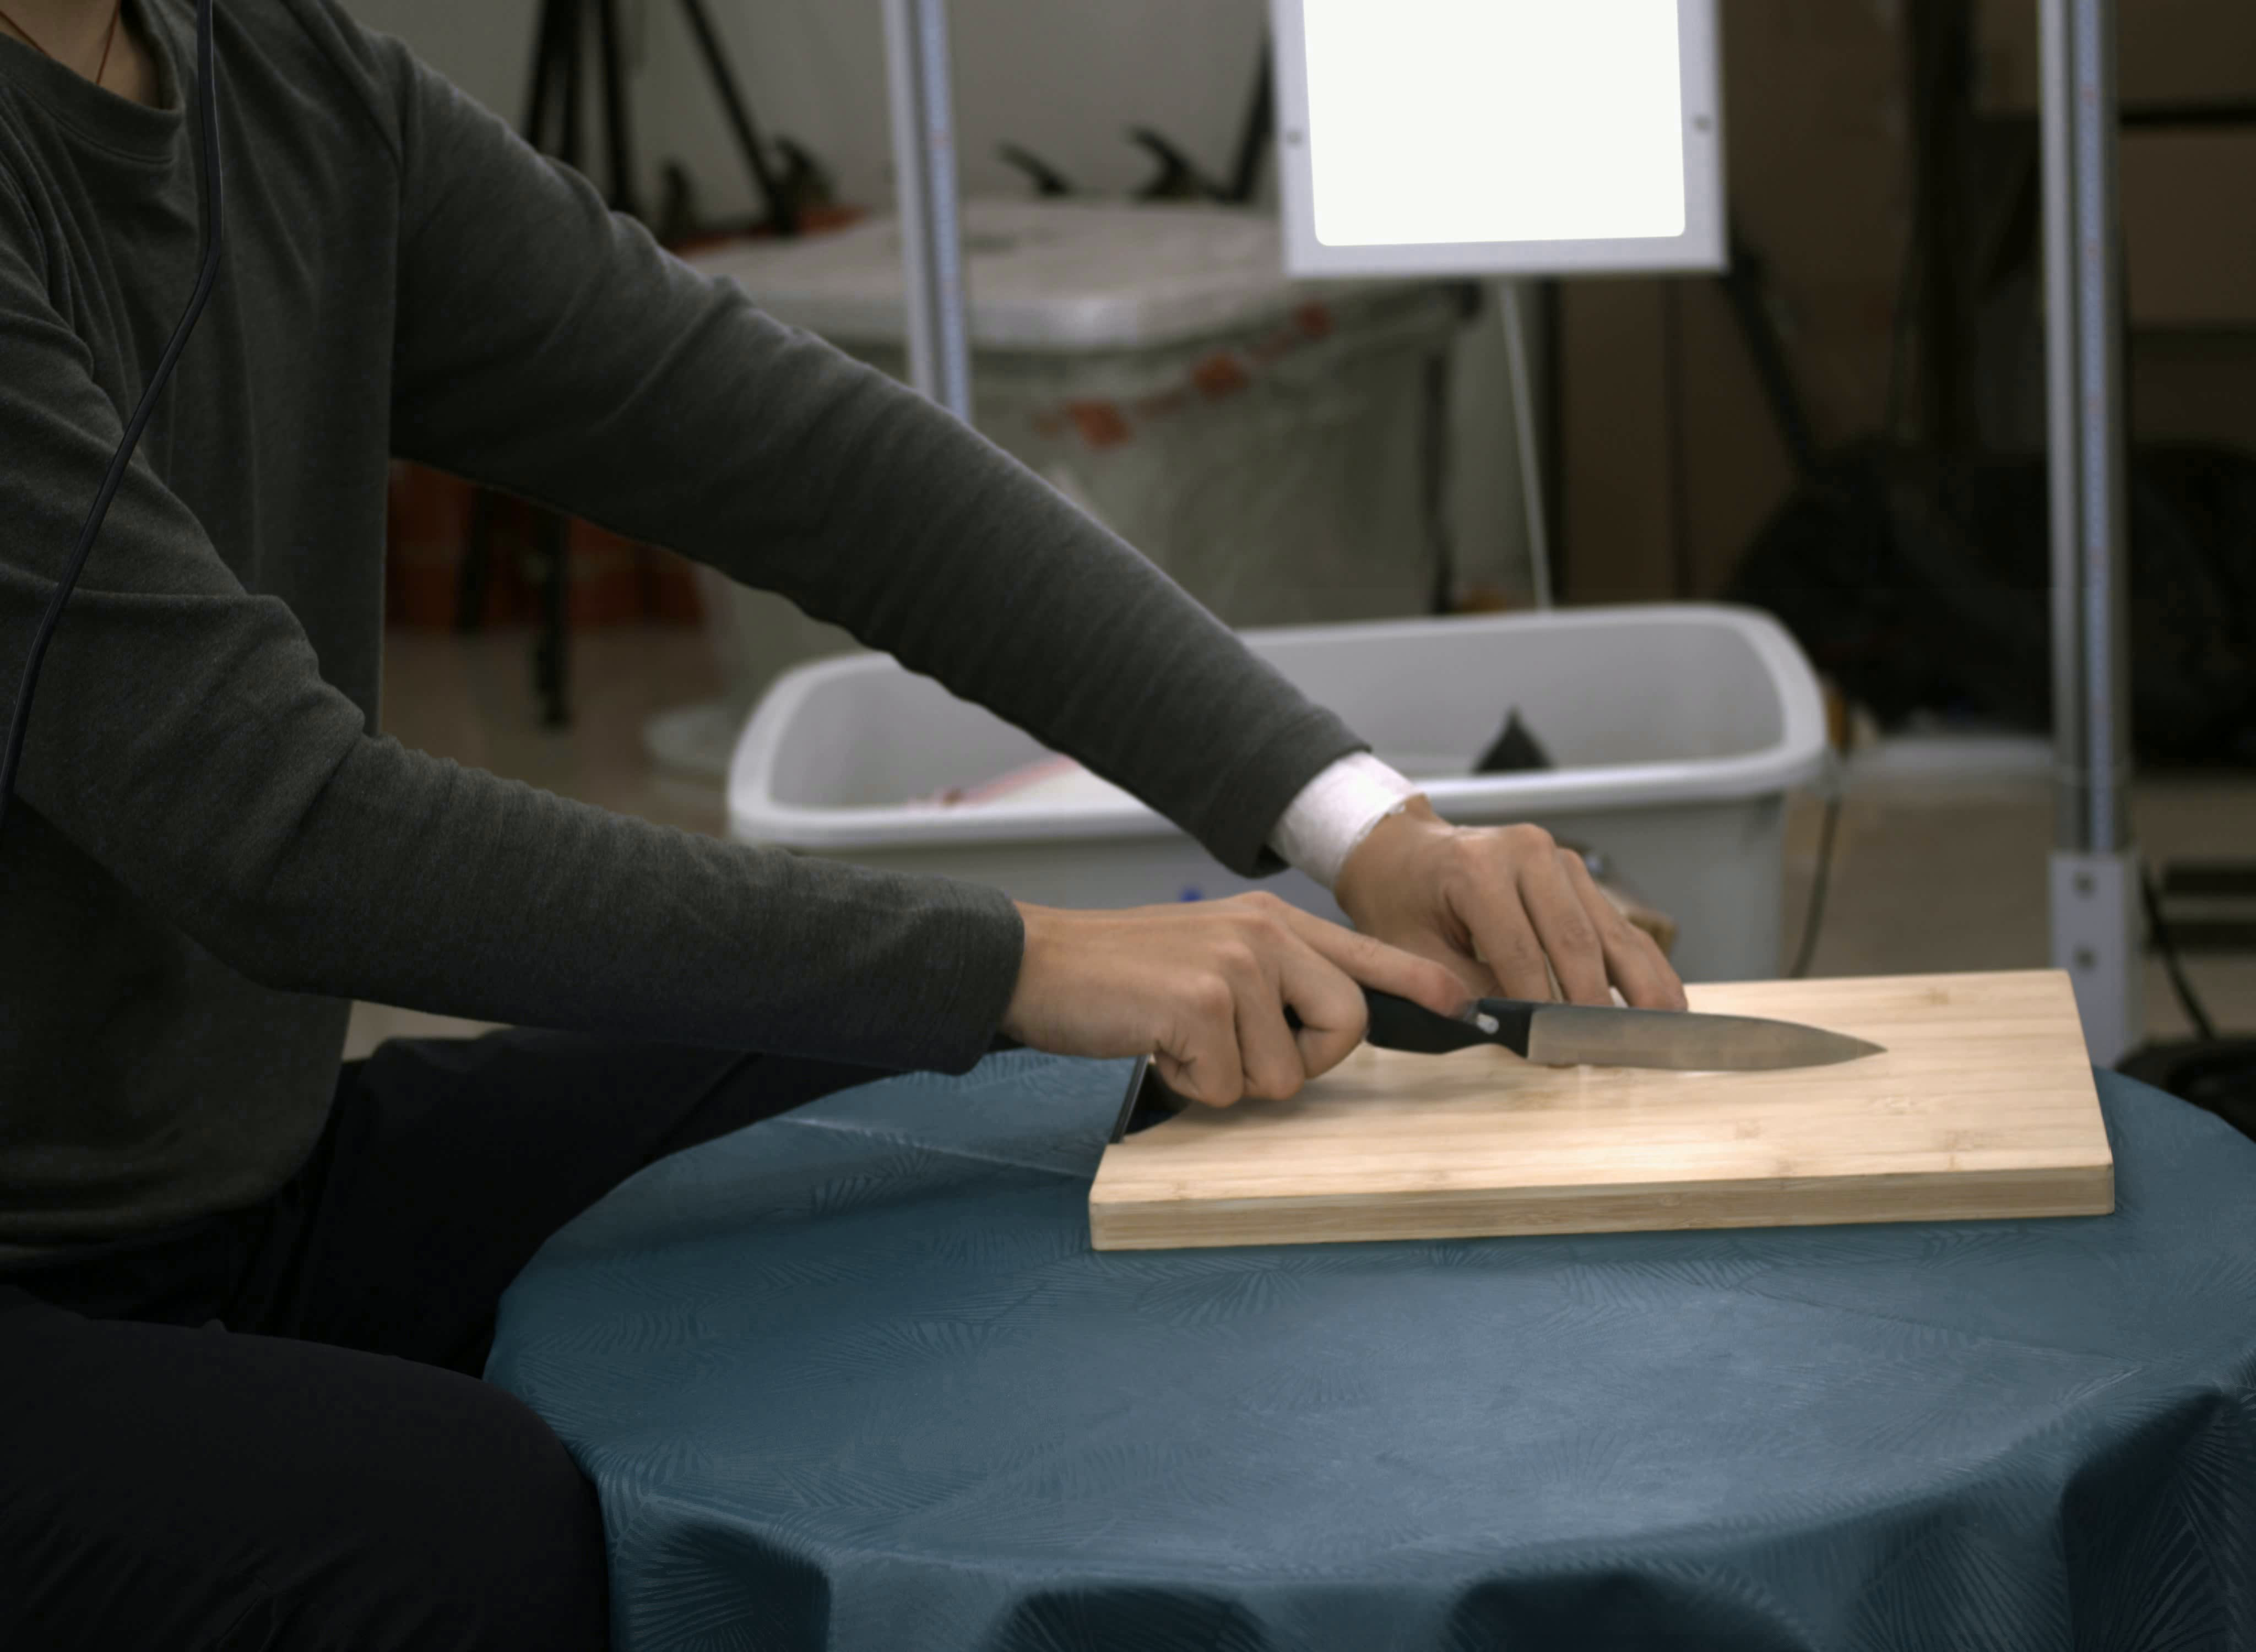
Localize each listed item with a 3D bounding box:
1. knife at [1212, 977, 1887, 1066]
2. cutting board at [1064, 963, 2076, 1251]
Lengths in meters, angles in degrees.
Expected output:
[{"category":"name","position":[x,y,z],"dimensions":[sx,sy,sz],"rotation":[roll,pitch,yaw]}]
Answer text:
[{"category":"knife","position":[0.148,0.070,1.922],"dimensions":[0.238,0.024,0.016],"rotation":[5,17,5]},{"category":"cutting board","position":[0.162,0.097,1.927],"dimensions":[0.350,0.023,0.249],"rotation":[-3,14,8]}]
